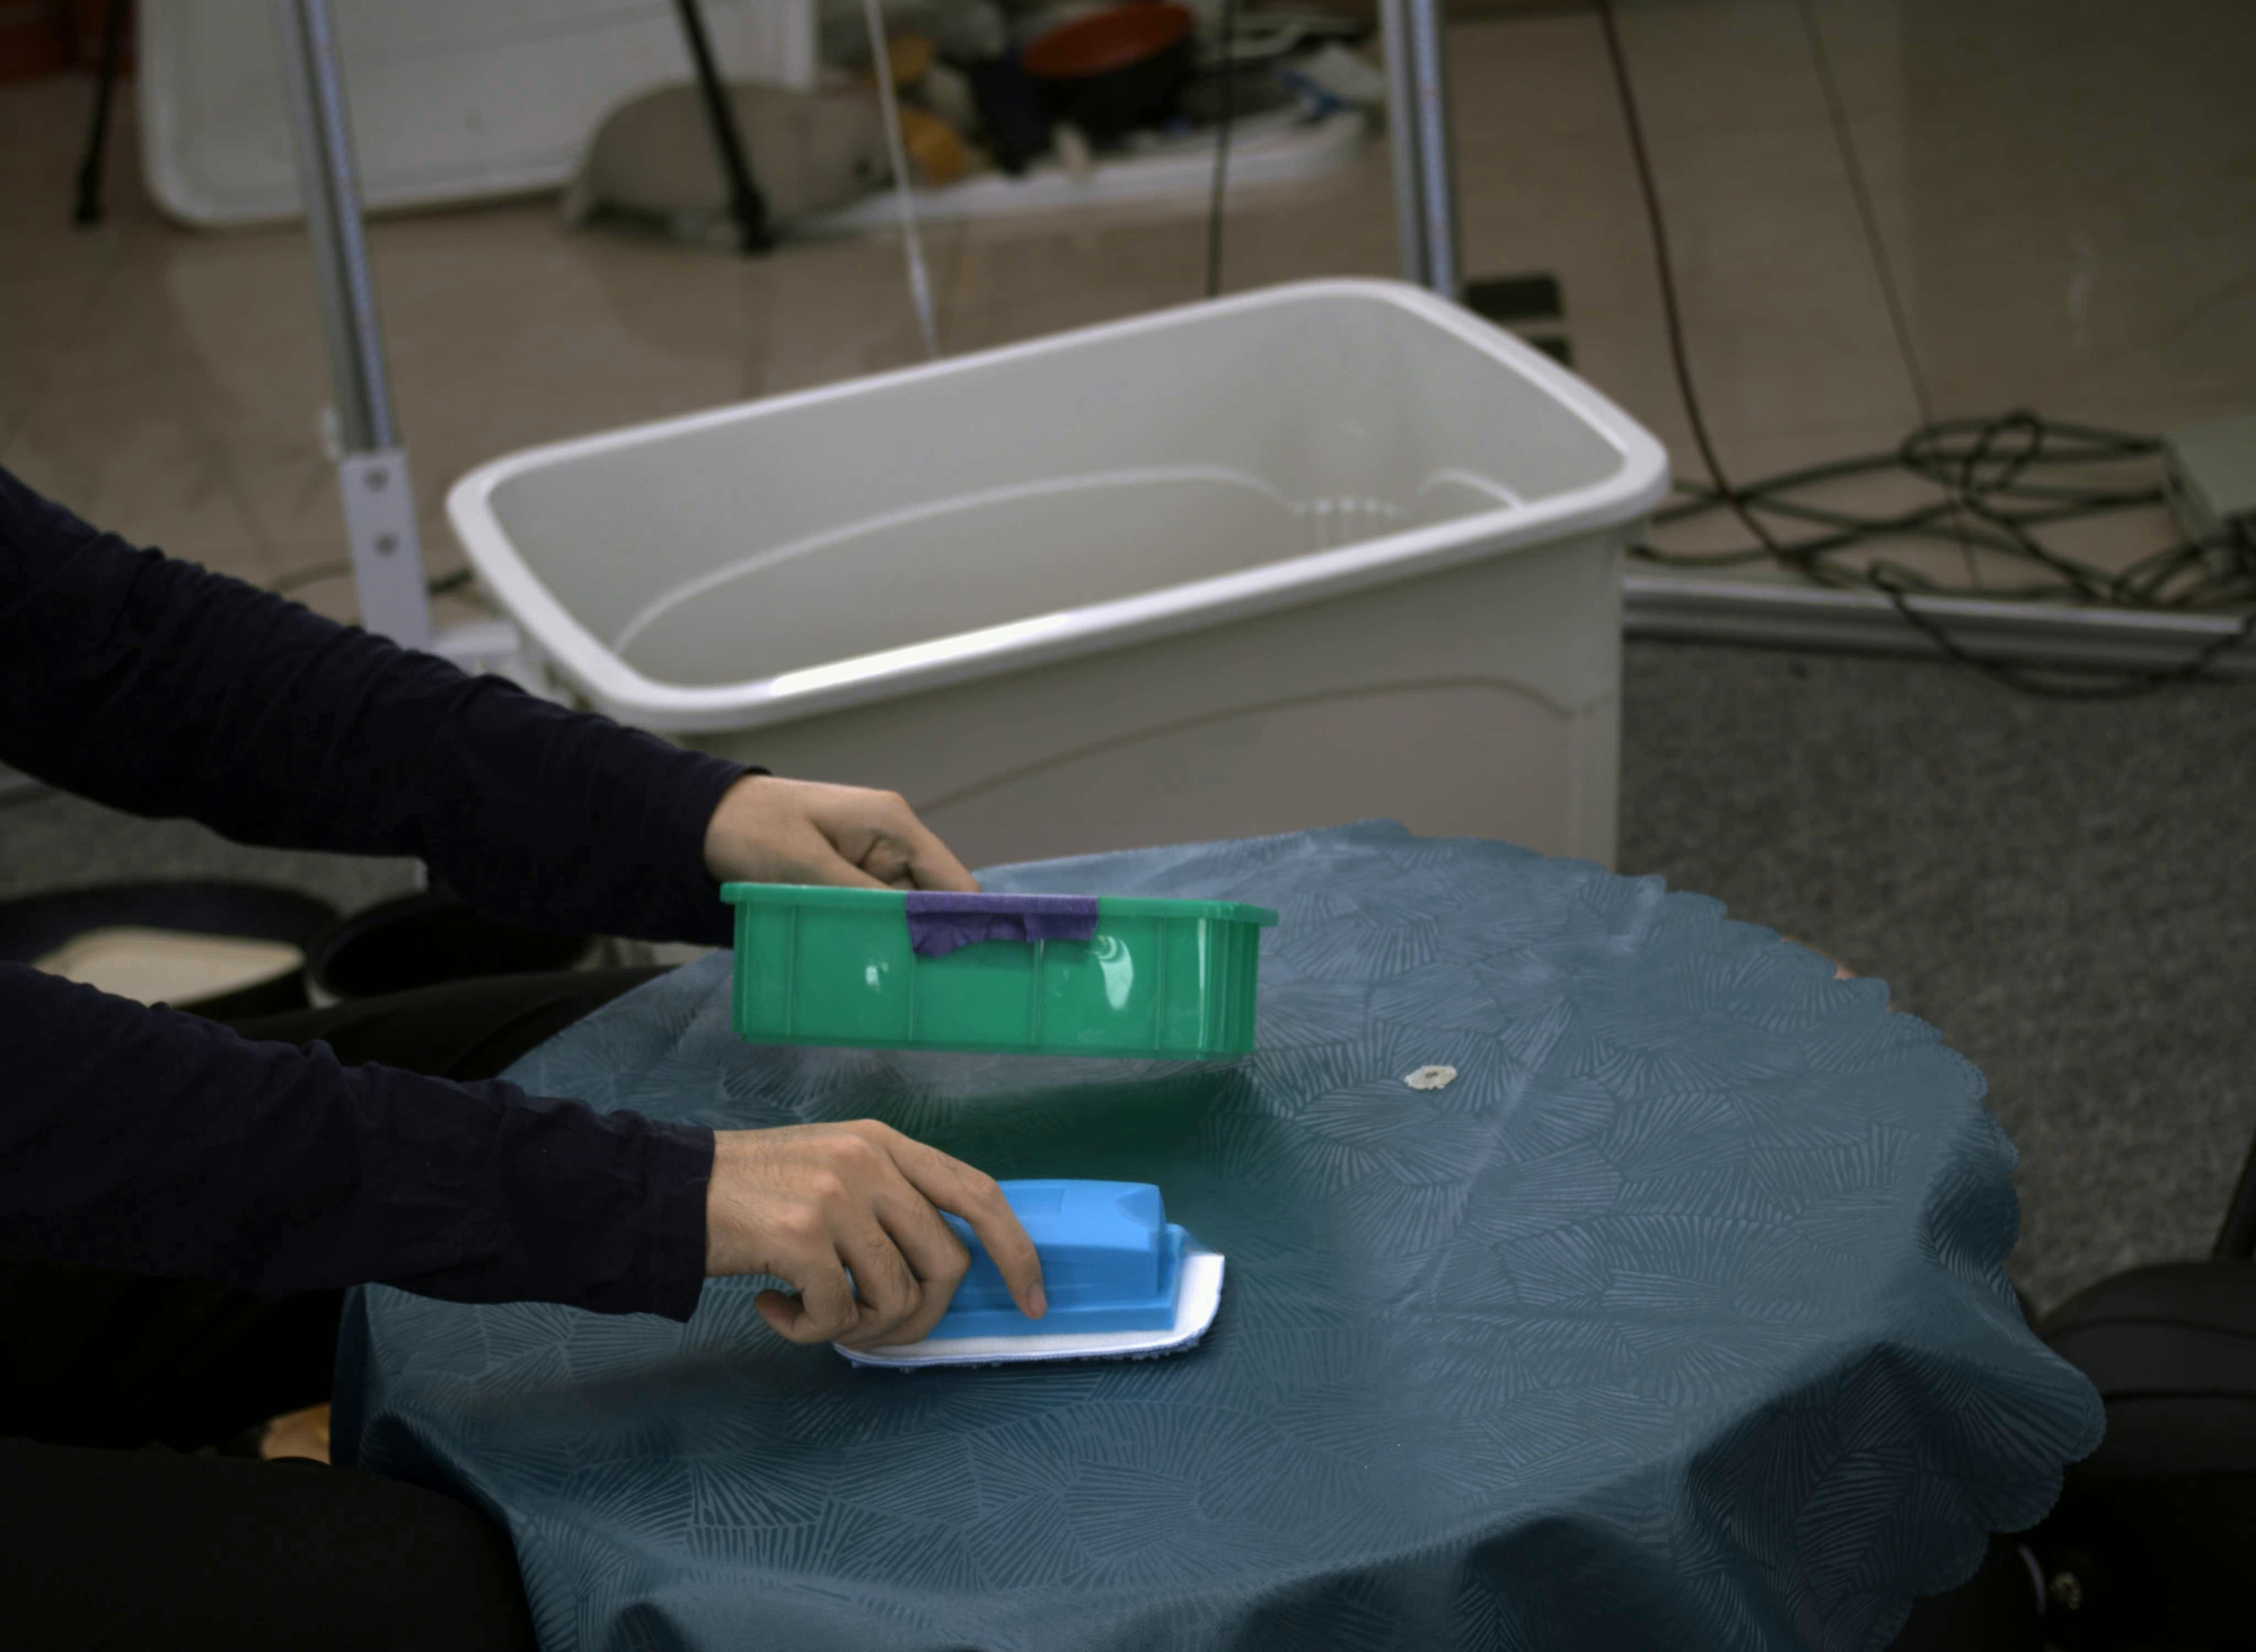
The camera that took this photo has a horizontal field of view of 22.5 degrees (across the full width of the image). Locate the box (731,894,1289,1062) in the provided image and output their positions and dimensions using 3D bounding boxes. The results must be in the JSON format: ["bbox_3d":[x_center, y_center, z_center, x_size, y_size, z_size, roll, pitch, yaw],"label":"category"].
[{"bbox_3d":[-0.045,0.059,2.185,0.210,0.065,0.138,1,0,6],"label":"box"}]

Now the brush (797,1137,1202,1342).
[{"bbox_3d":[-0.045,0.147,2.049,0.143,0.057,0.082,6,31,4],"label":"brush"}]
